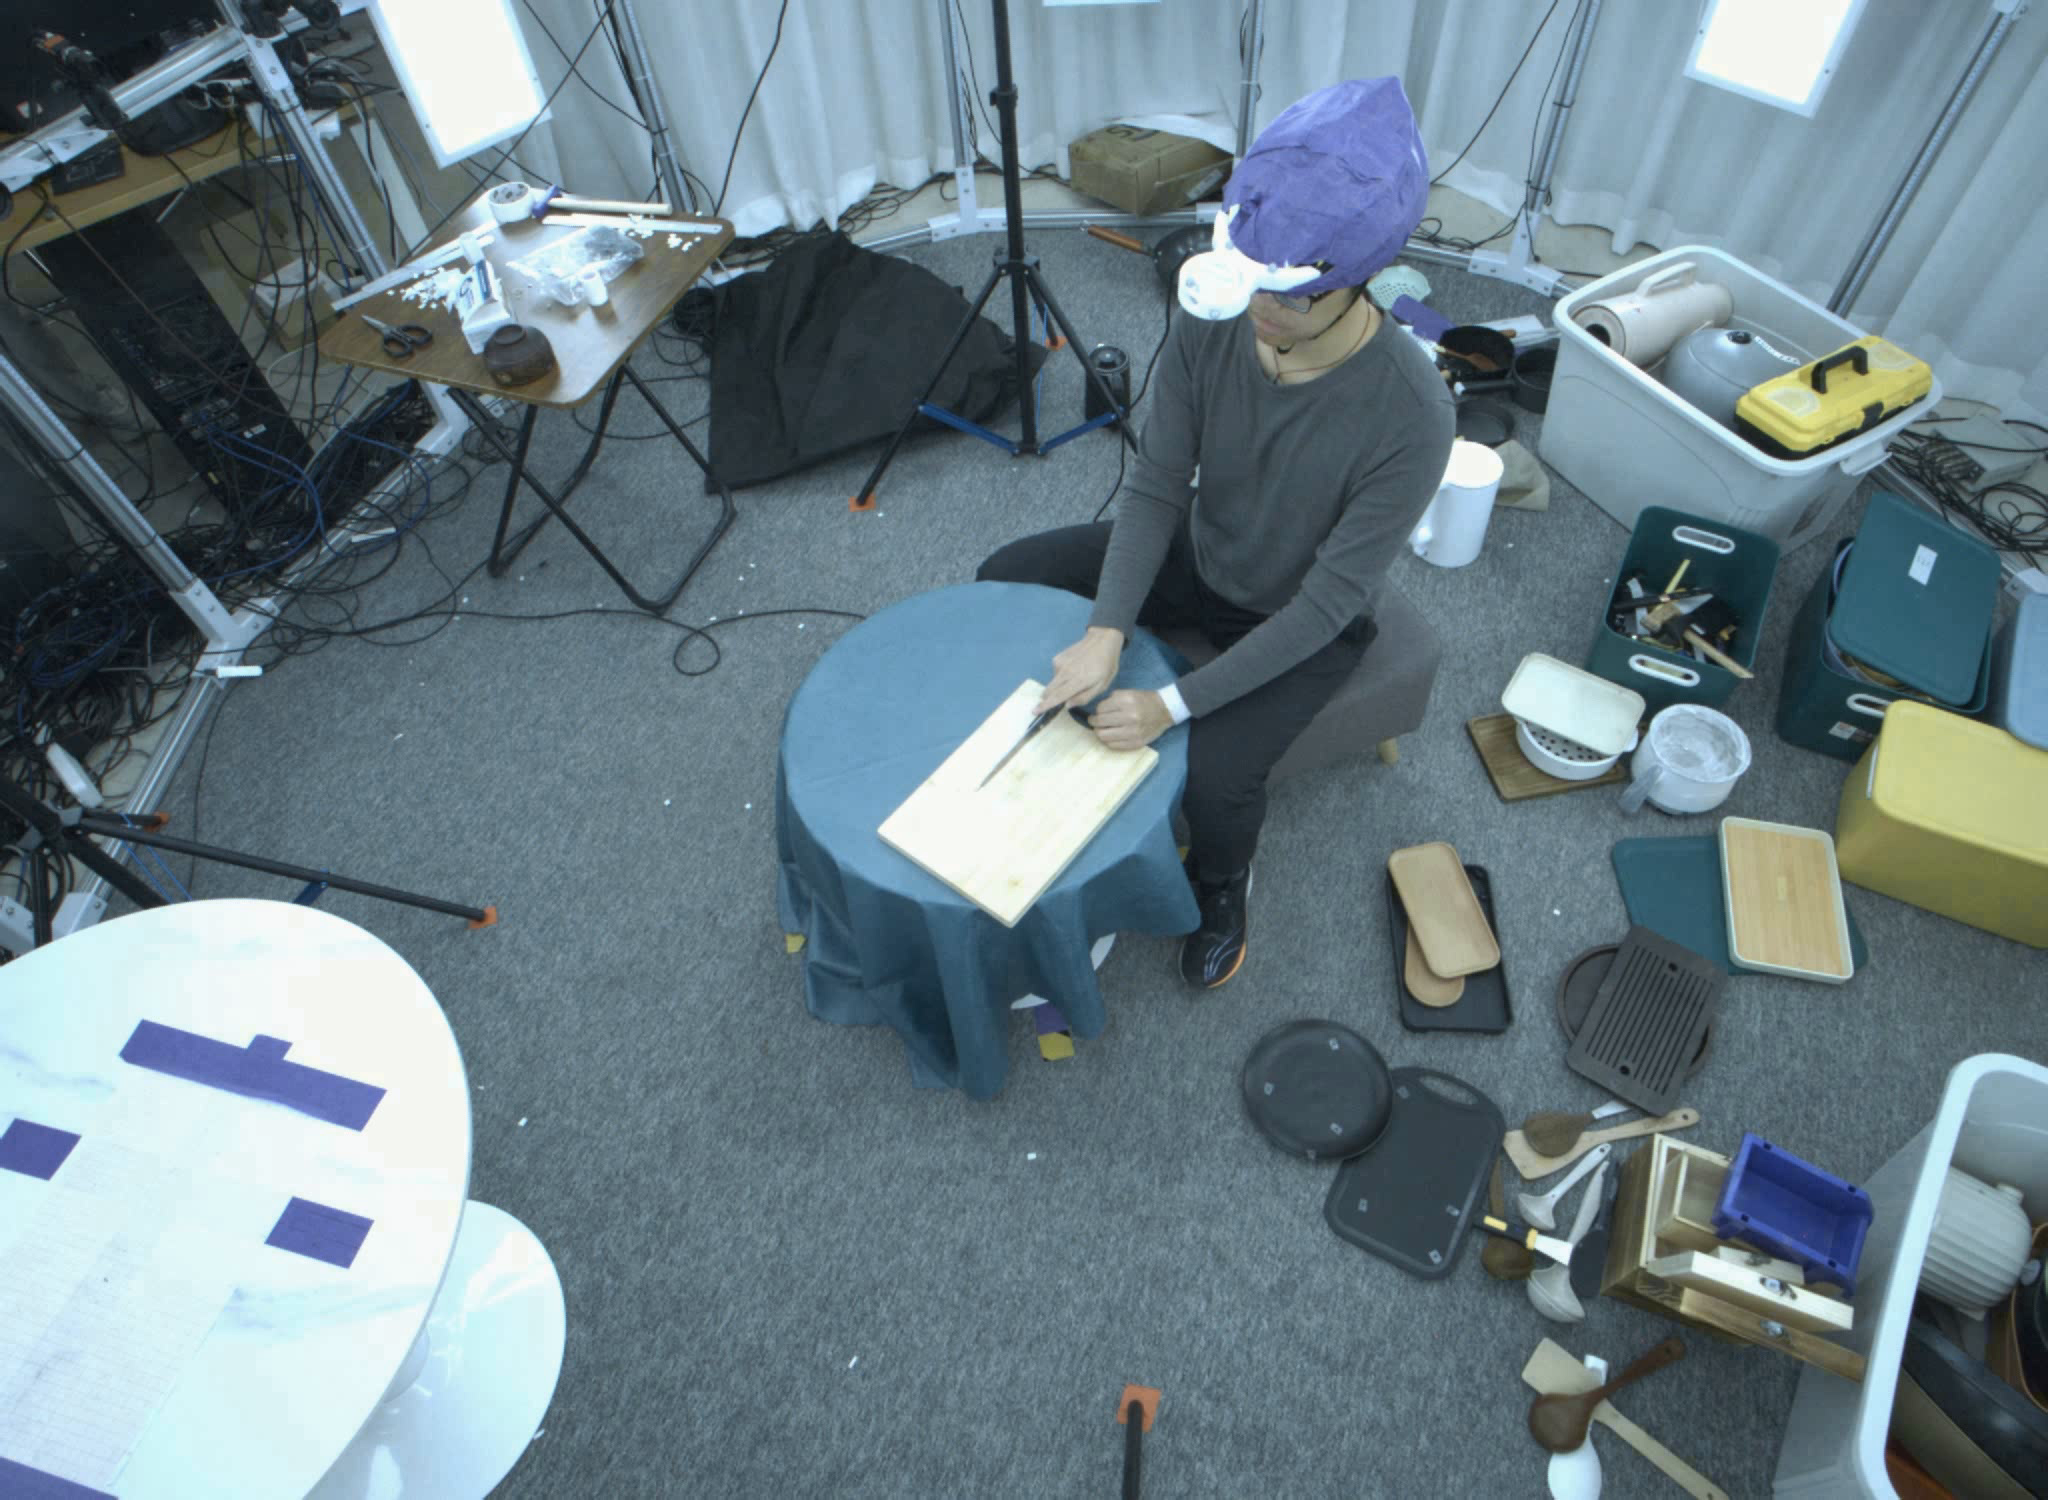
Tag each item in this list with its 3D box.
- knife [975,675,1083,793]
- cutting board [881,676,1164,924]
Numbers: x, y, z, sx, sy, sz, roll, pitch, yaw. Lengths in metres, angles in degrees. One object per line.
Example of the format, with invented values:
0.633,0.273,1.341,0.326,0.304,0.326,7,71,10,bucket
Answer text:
0.007,-0.024,1.731,0.016,0.025,0.239,34,67,19,knife
-0.001,0.060,1.743,0.247,0.024,0.350,31,61,21,cutting board
